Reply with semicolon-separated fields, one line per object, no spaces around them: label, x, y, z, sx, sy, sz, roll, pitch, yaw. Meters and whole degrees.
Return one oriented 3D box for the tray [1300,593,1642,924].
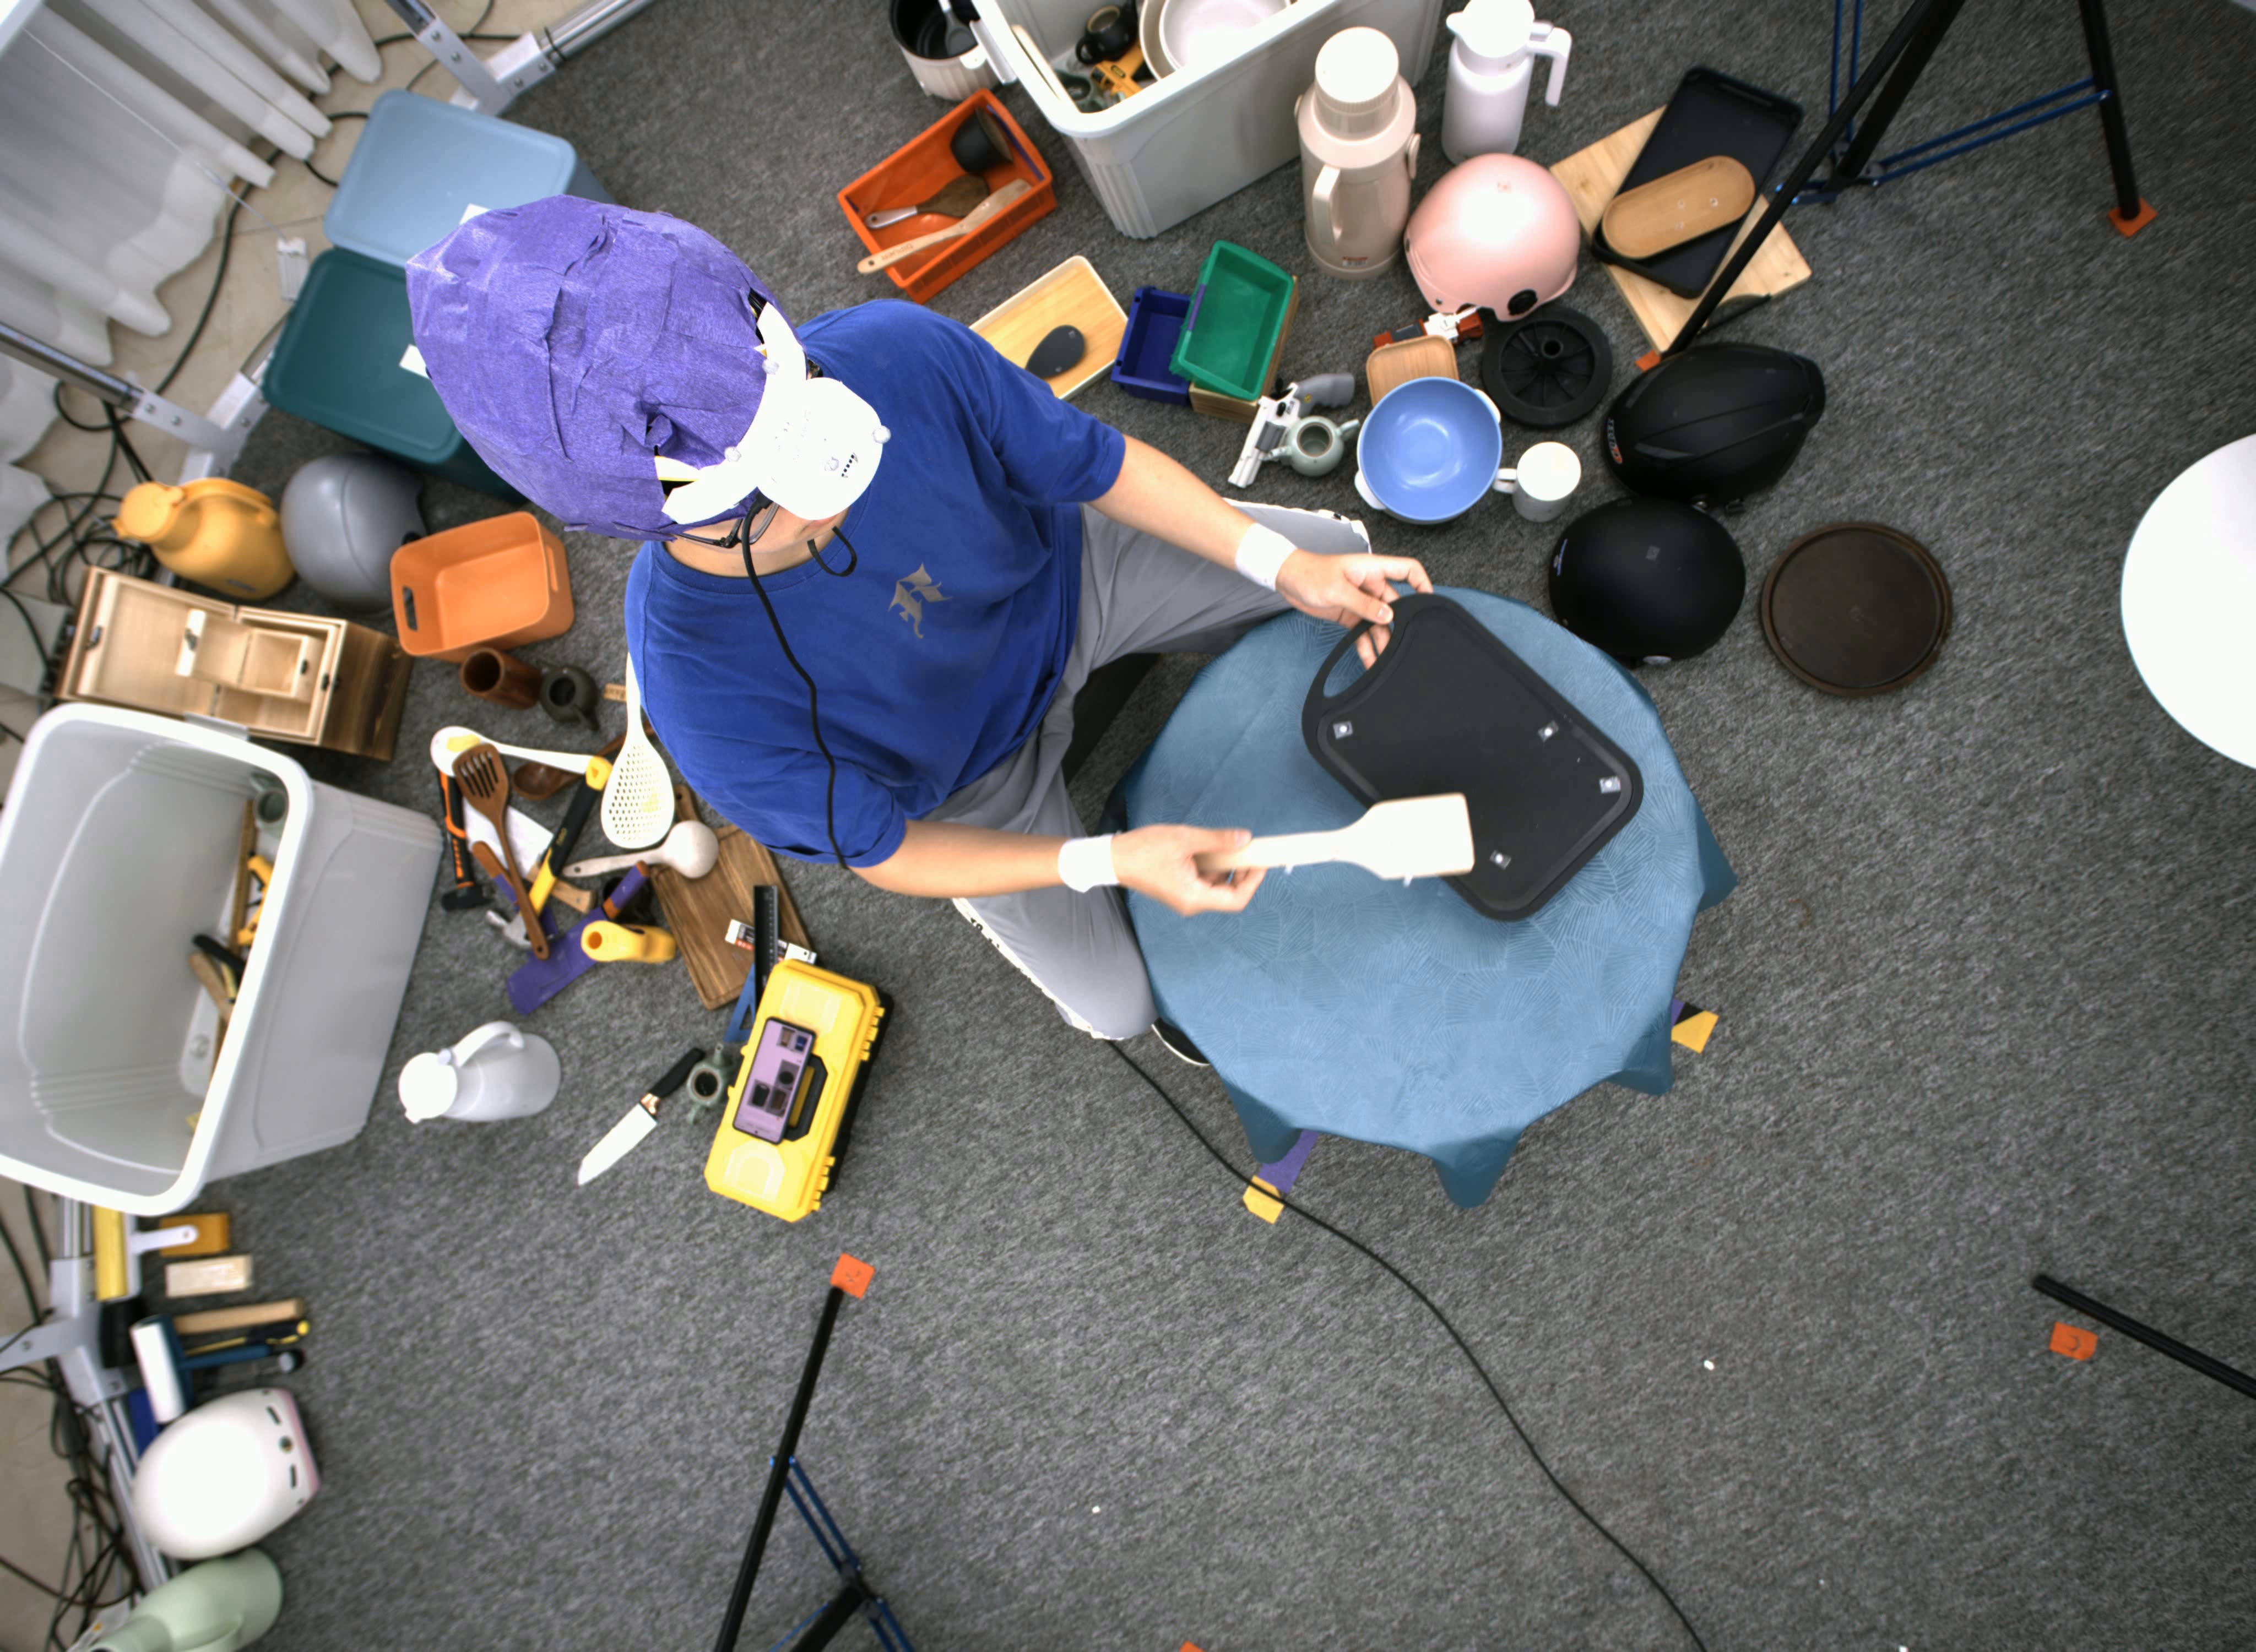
tray;0.324;-0.071;1.344;0.324;0.009;0.214;45;111;6

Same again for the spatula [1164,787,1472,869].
spatula;0.170;0.014;1.287;0.295;0.010;0.073;-7;107;23
